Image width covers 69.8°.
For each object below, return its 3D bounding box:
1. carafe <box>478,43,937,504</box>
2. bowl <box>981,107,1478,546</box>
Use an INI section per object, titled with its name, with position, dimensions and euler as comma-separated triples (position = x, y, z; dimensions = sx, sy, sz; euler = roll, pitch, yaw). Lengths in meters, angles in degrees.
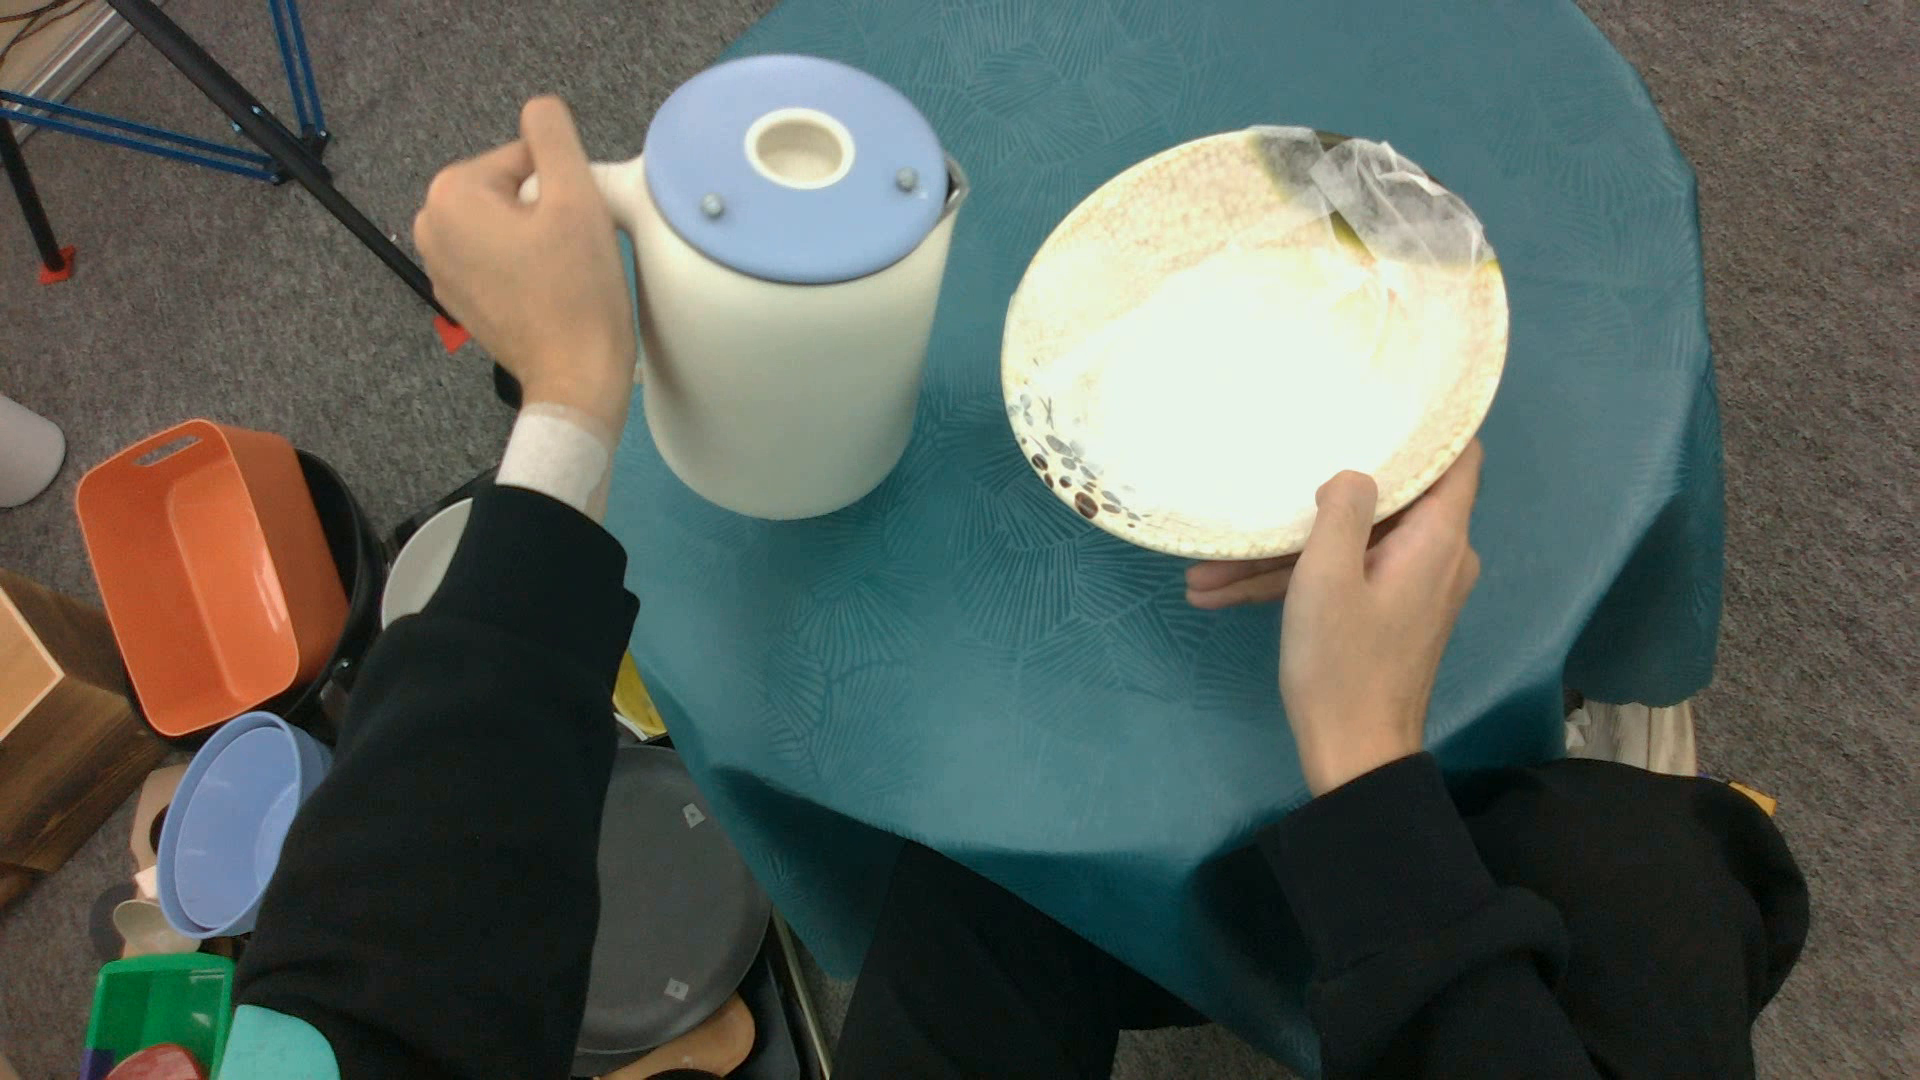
[carafe]
position = -0.112, -0.112, 0.609
dimensions = 0.191, 0.181, 0.133
euler = -2, 59, -9
[bowl]
position = 0.116, -0.082, 0.602
dimensions = 0.203, 0.078, 0.204
euler = -6, 69, 15
